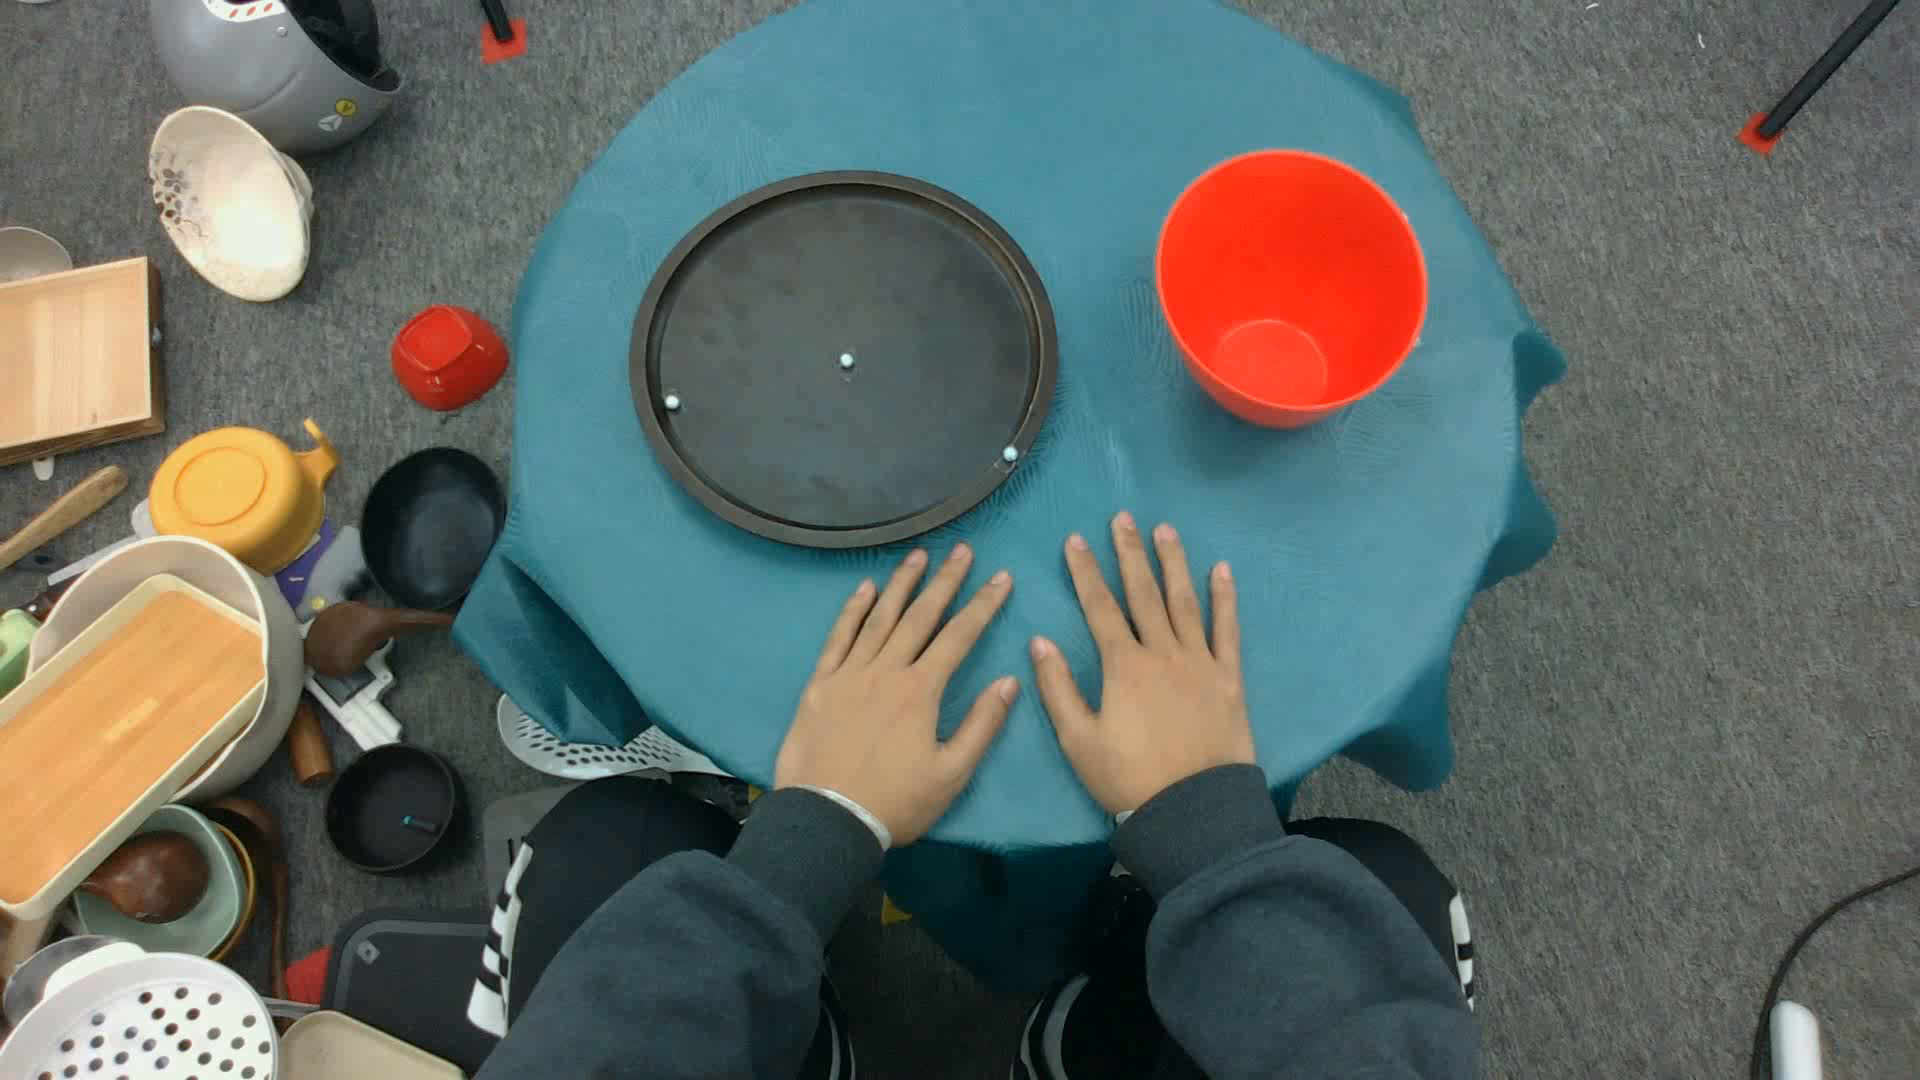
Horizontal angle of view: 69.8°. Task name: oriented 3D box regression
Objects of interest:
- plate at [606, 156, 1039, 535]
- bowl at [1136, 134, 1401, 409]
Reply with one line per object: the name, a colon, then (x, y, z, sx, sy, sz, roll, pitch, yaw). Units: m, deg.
plate: (-0.081, -0.119, 0.813, 0.255, 0.029, 0.255, 1, 68, -2)
bowl: (0.167, -0.138, 0.782, 0.148, 0.104, 0.148, 1, 67, -2)
